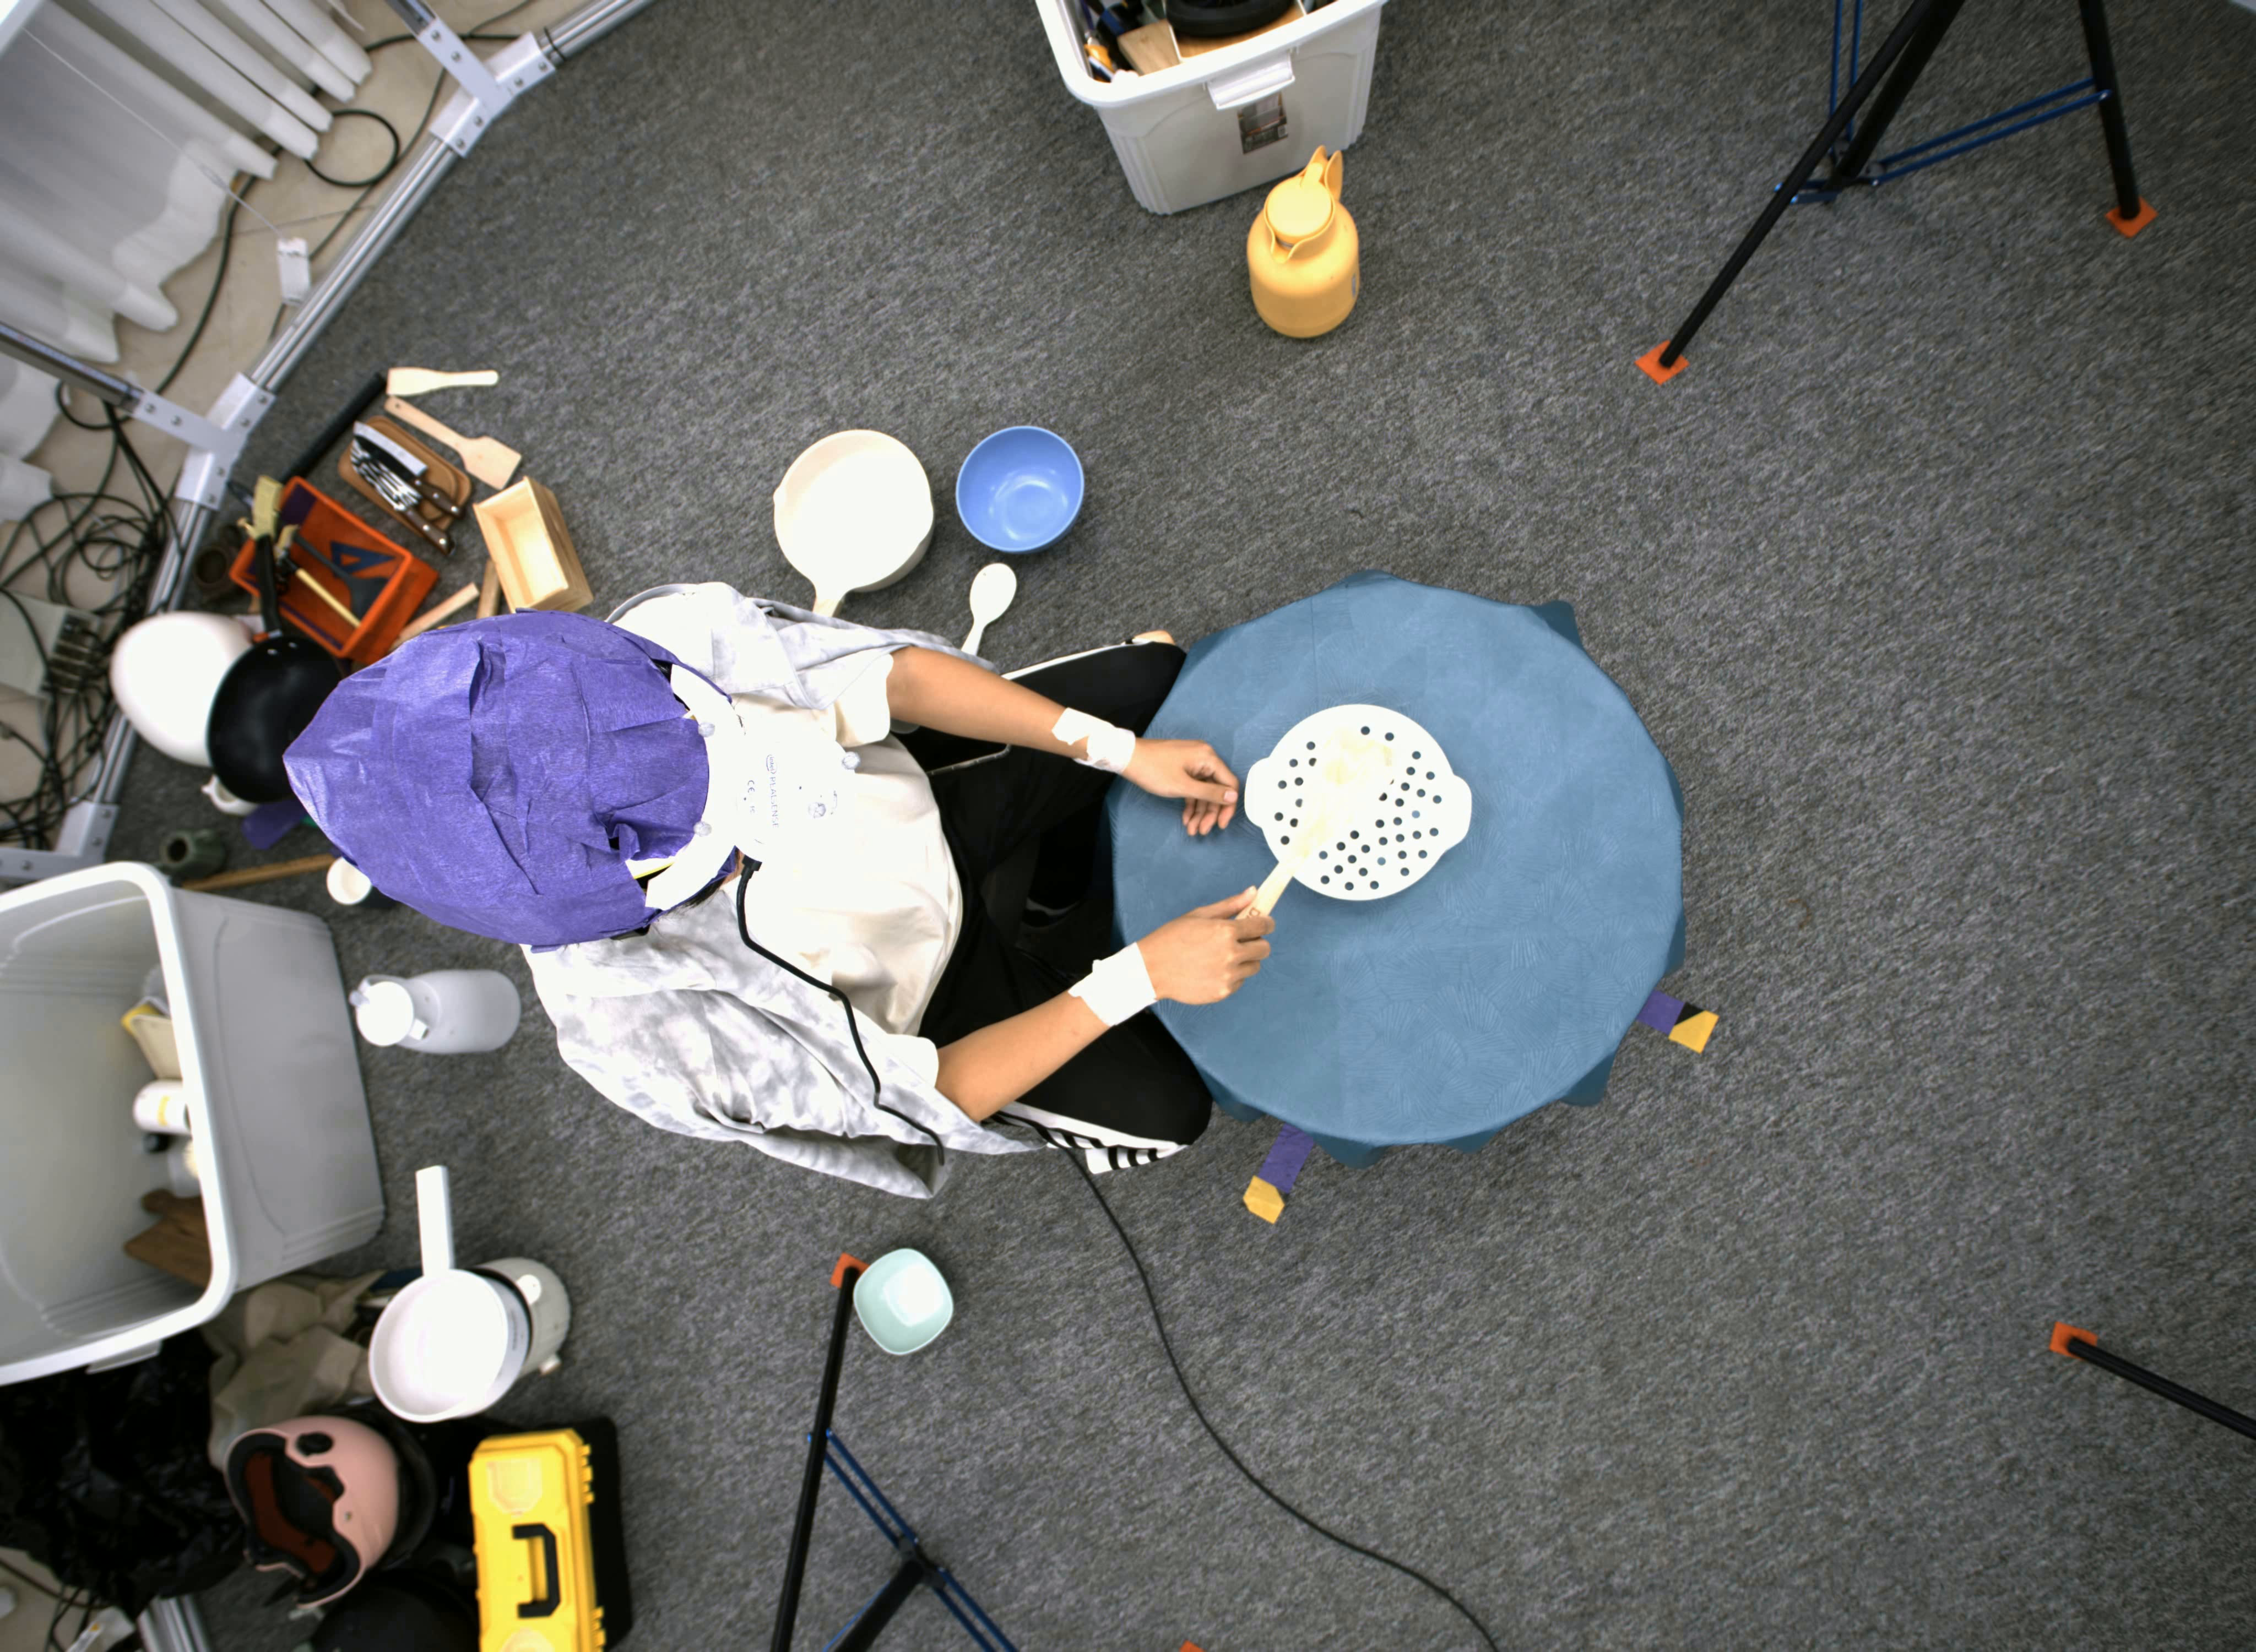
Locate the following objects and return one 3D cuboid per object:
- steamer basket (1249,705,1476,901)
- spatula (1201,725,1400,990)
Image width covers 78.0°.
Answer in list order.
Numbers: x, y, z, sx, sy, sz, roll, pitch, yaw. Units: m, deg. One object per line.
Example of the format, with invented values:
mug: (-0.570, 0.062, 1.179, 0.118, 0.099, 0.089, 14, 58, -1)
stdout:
steamer basket: (0.243, -0.023, 1.435, 0.231, 0.069, 0.201, 6, 86, 12)
spatula: (0.164, 0.028, 1.379, 0.080, 0.017, 0.322, 33, 71, 6)
